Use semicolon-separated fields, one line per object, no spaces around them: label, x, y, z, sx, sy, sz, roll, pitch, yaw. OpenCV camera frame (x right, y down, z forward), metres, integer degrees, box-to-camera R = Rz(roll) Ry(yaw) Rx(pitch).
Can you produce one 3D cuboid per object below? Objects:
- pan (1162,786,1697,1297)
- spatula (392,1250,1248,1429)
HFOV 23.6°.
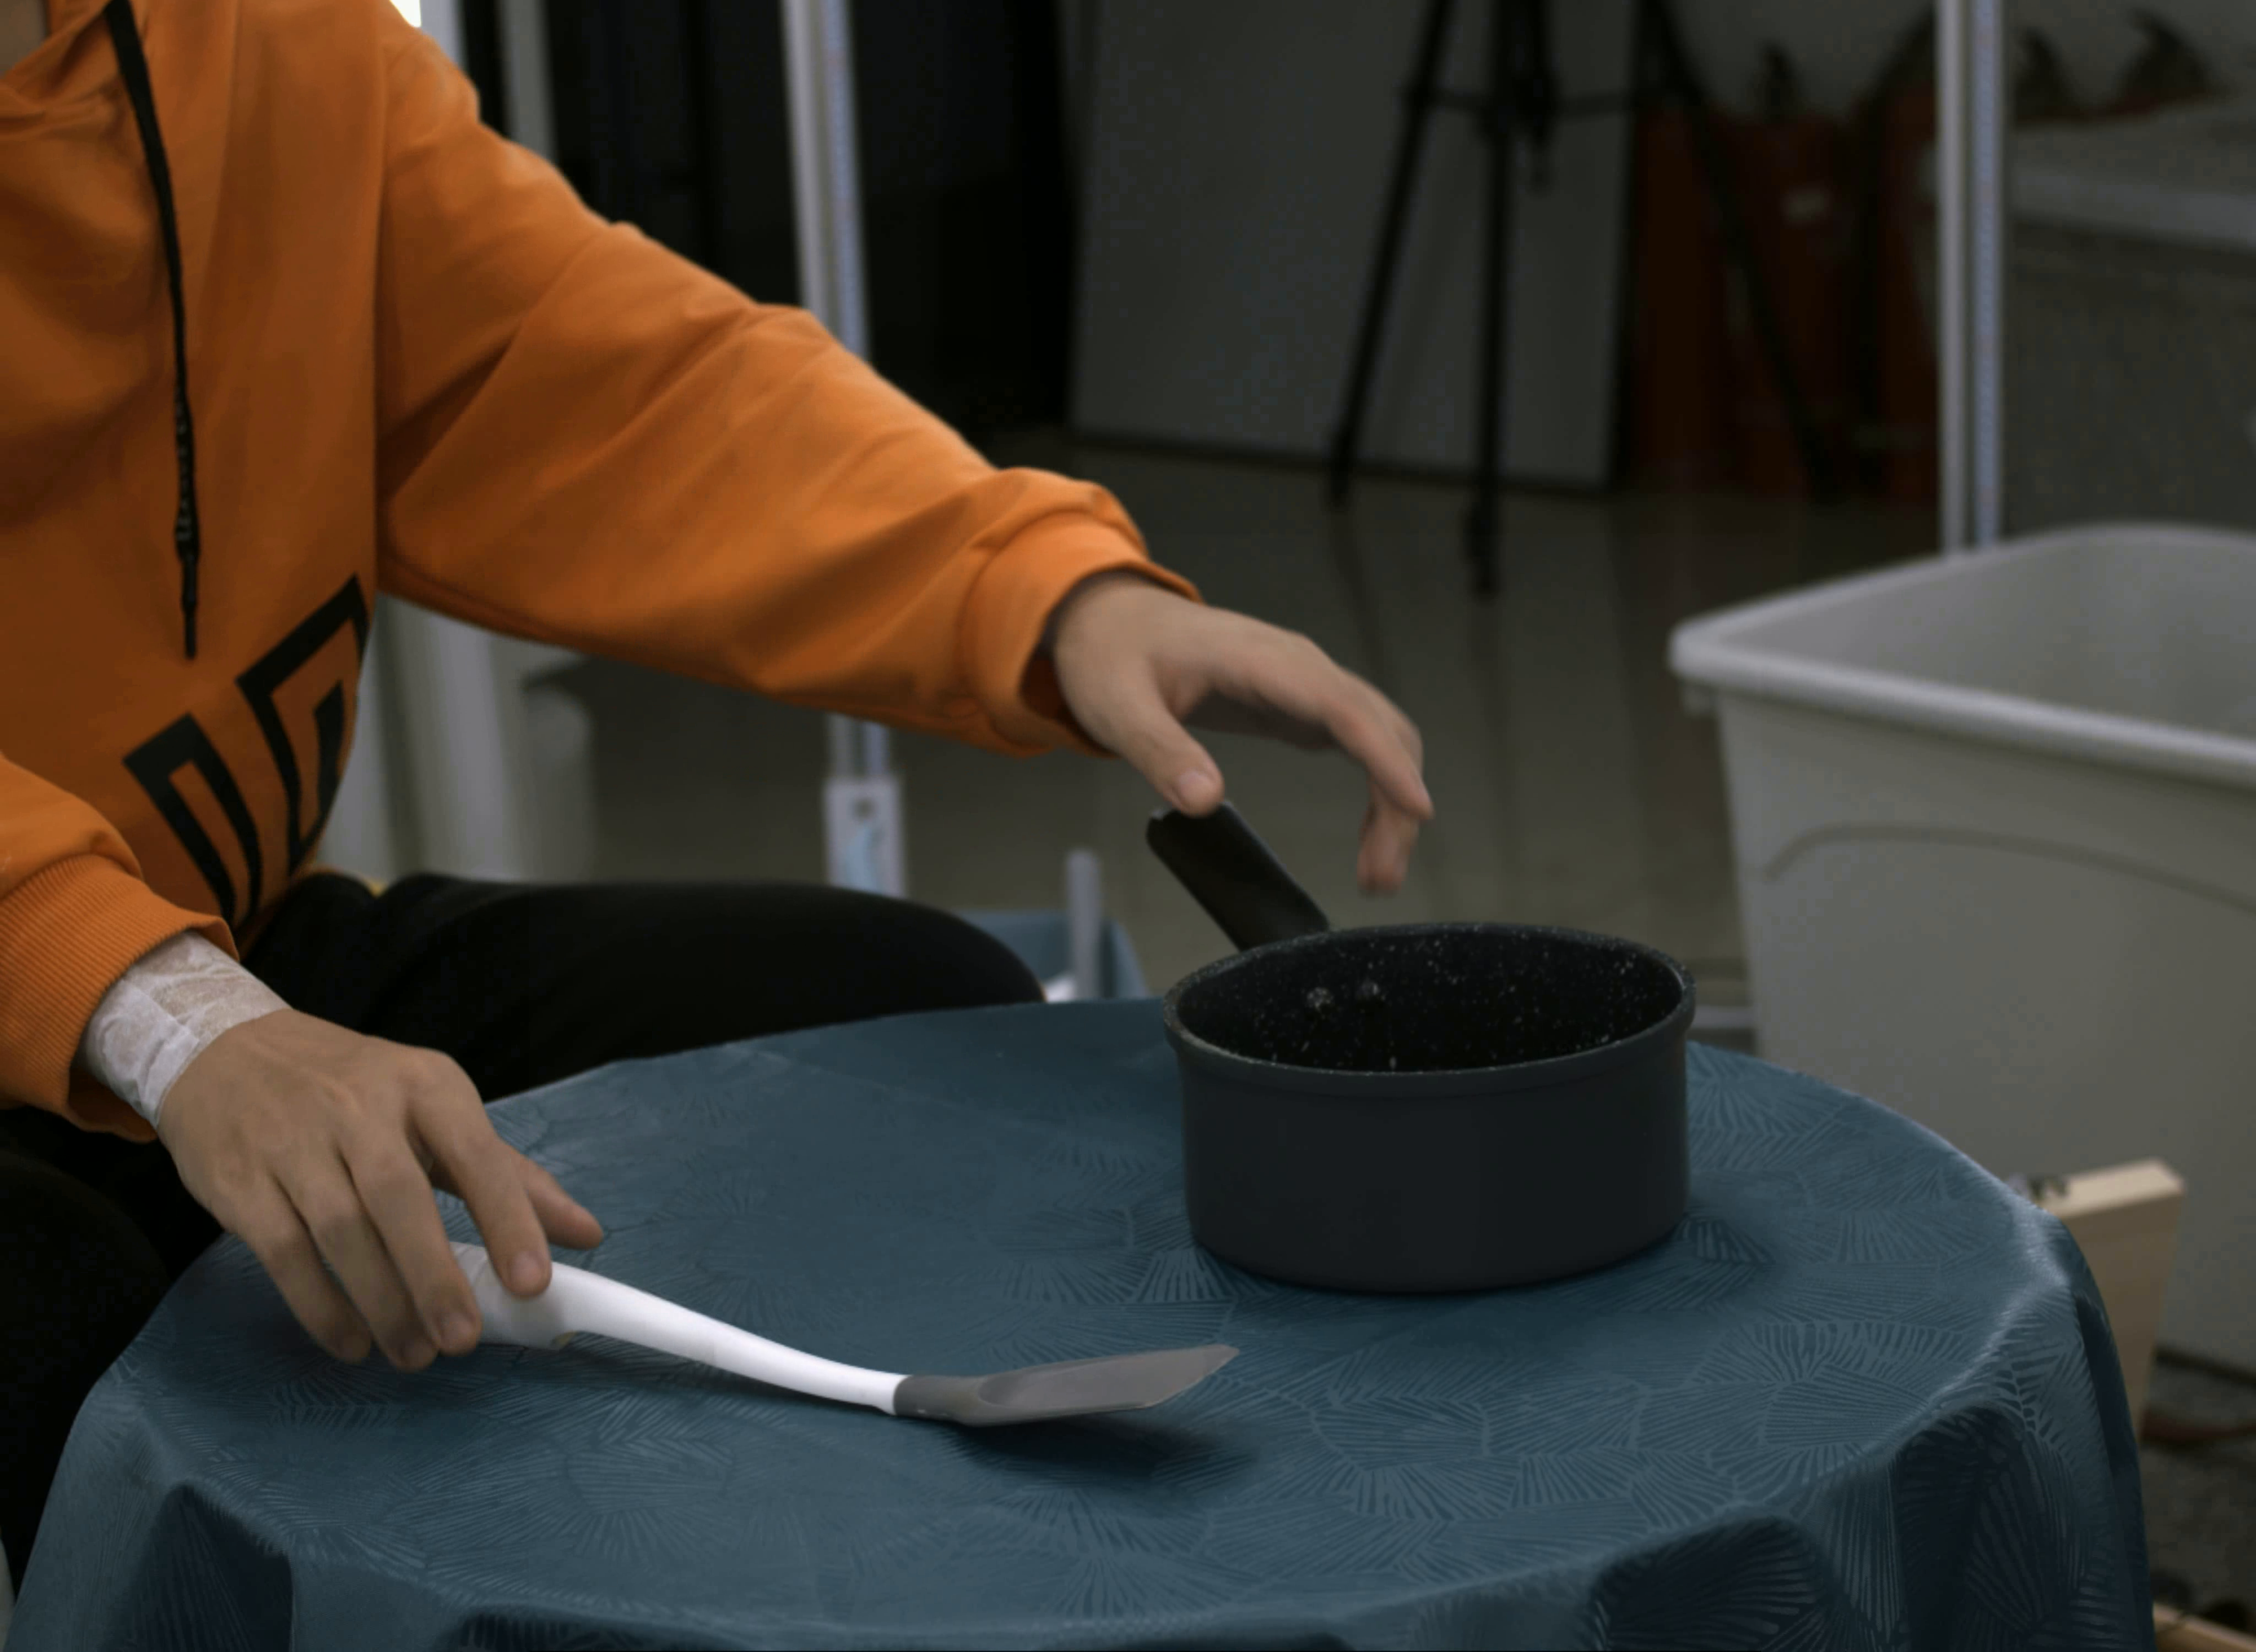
pan;0.076;0.067;1.787;0.169;0.087;0.331;-7;16;-13
spatula;-0.095;0.155;1.596;0.289;0.032;0.058;4;12;32
